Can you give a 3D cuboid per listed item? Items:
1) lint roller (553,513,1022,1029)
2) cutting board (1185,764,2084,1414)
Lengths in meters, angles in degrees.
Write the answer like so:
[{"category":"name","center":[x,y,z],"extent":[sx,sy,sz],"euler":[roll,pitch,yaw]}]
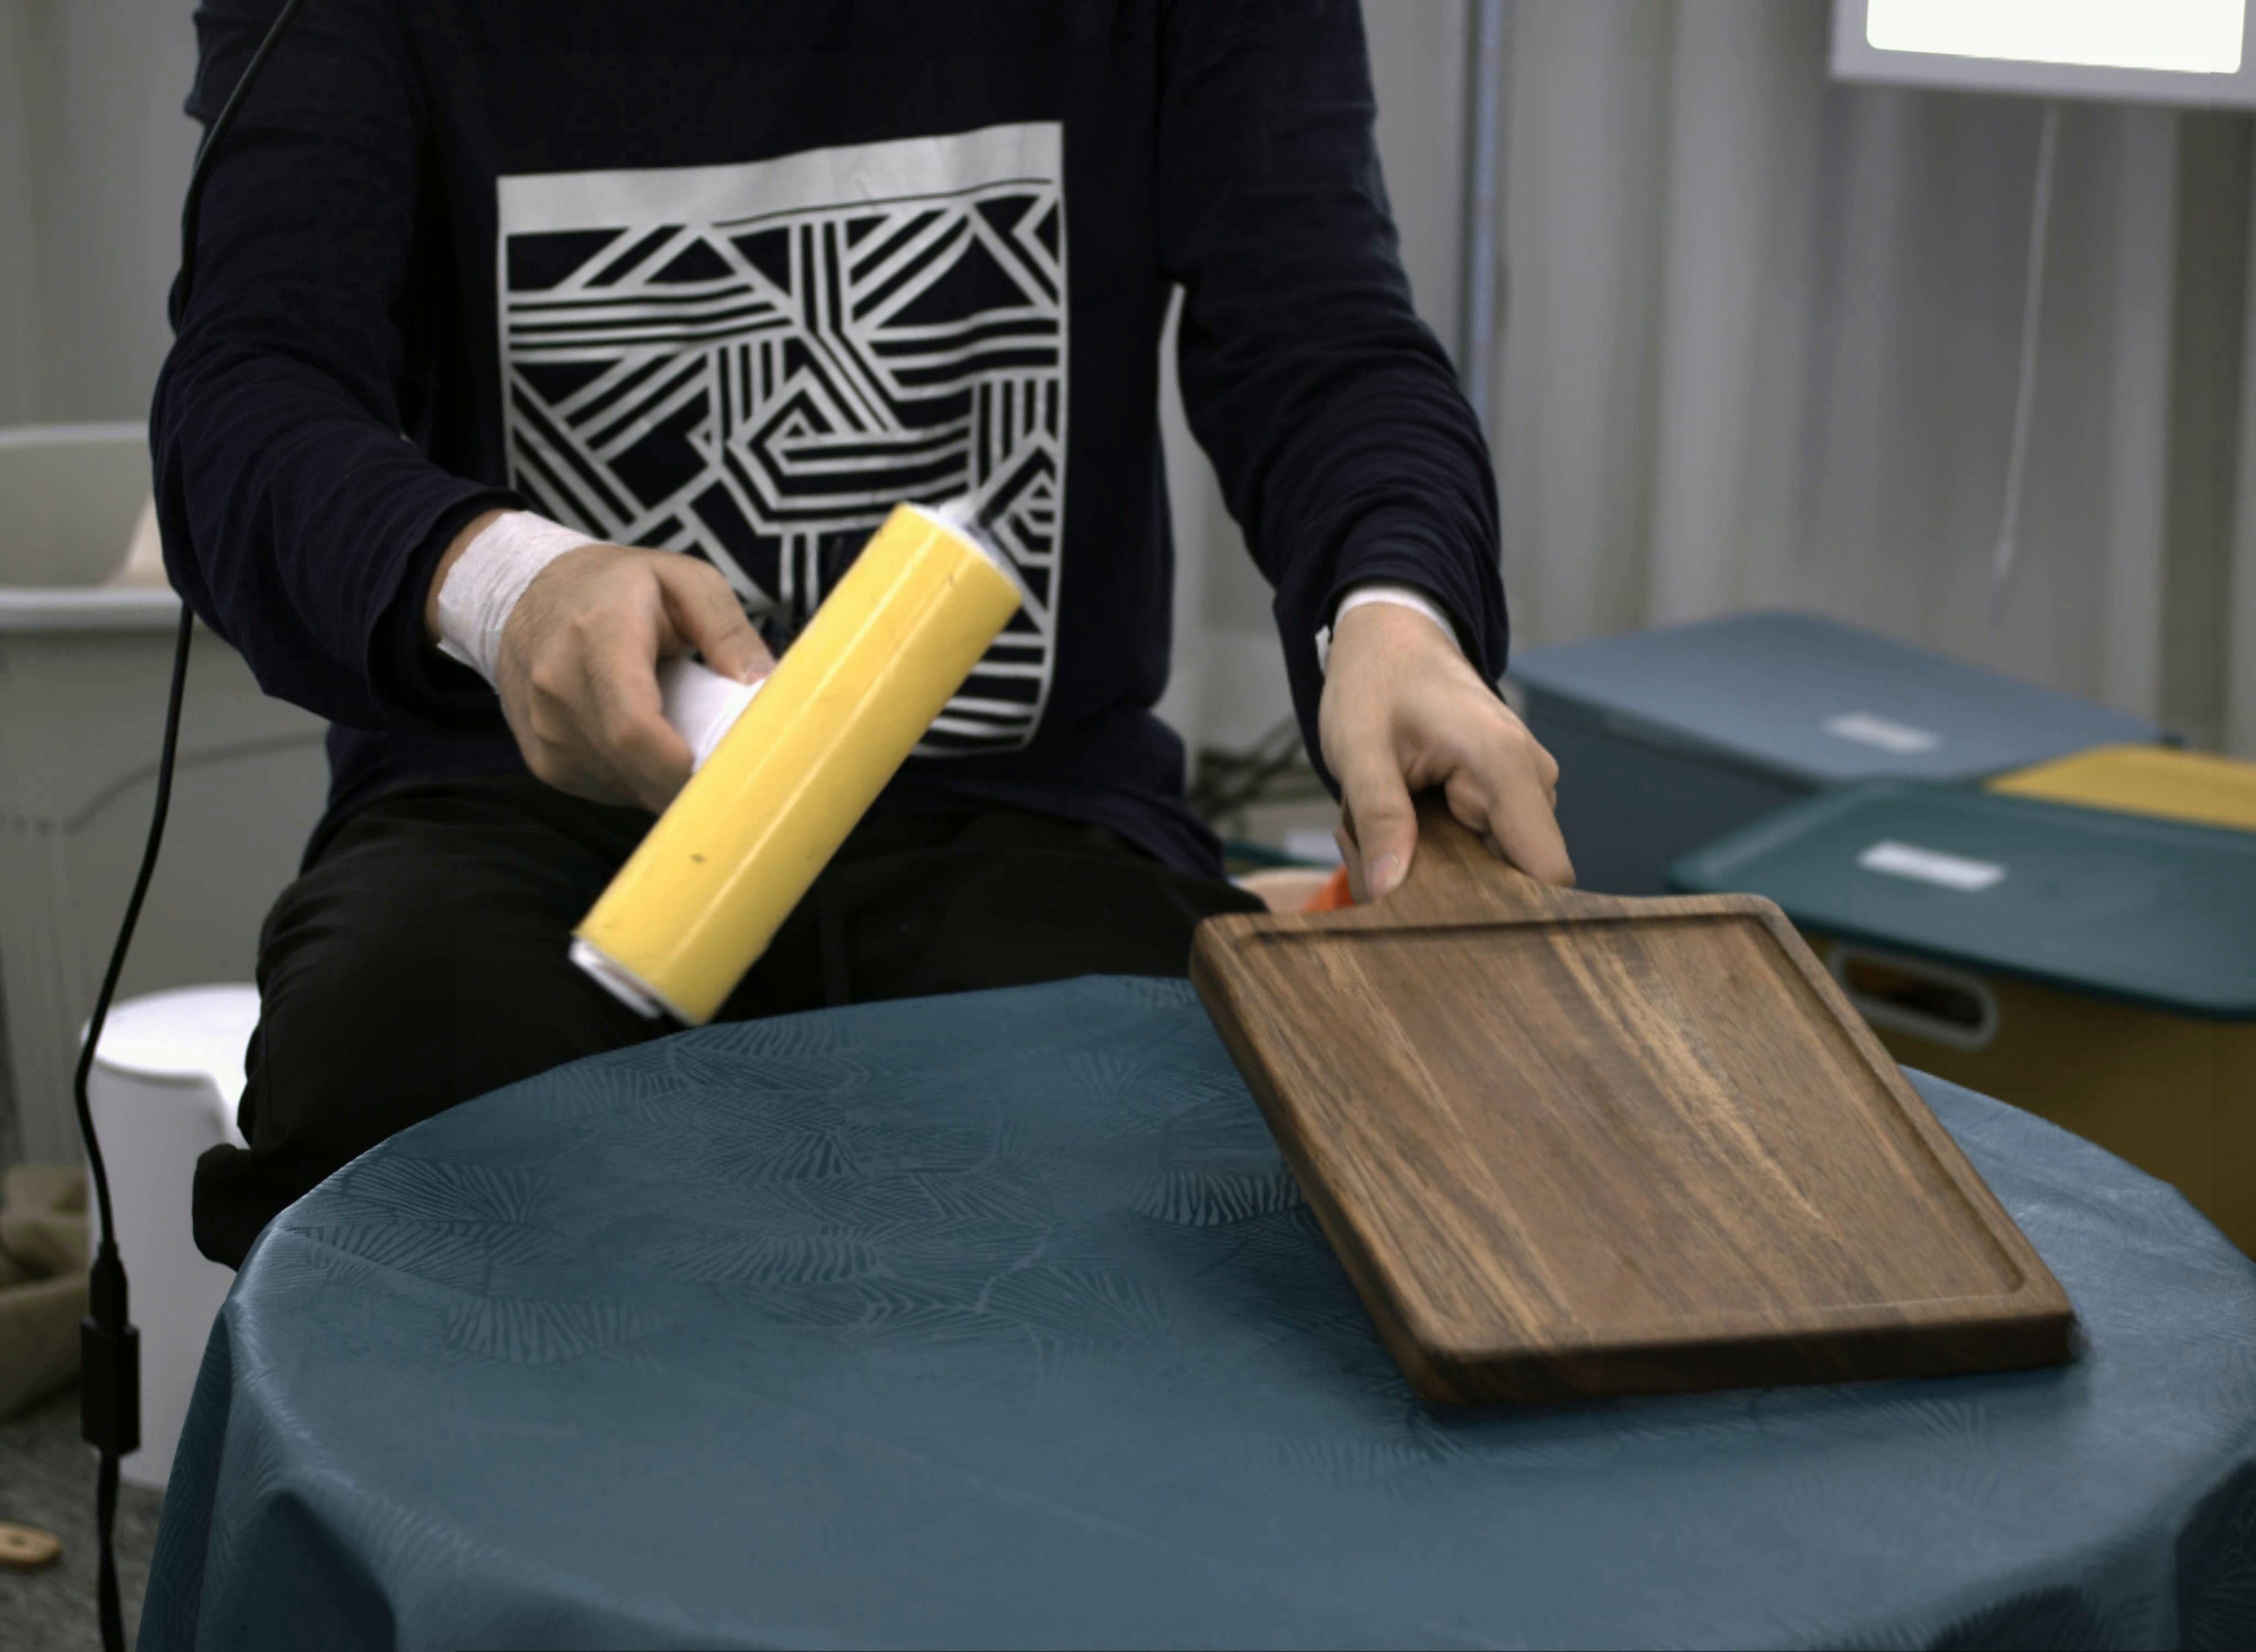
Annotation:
[{"category":"lint roller","center":[-0.134,-0.033,1.606],"extent":[0.052,0.174,0.189],"euler":[44,-10,-33]},{"category":"cutting board","center":[0.131,0.069,1.601],"extent":[0.201,0.023,0.348],"euler":[-2,28,-16]}]
